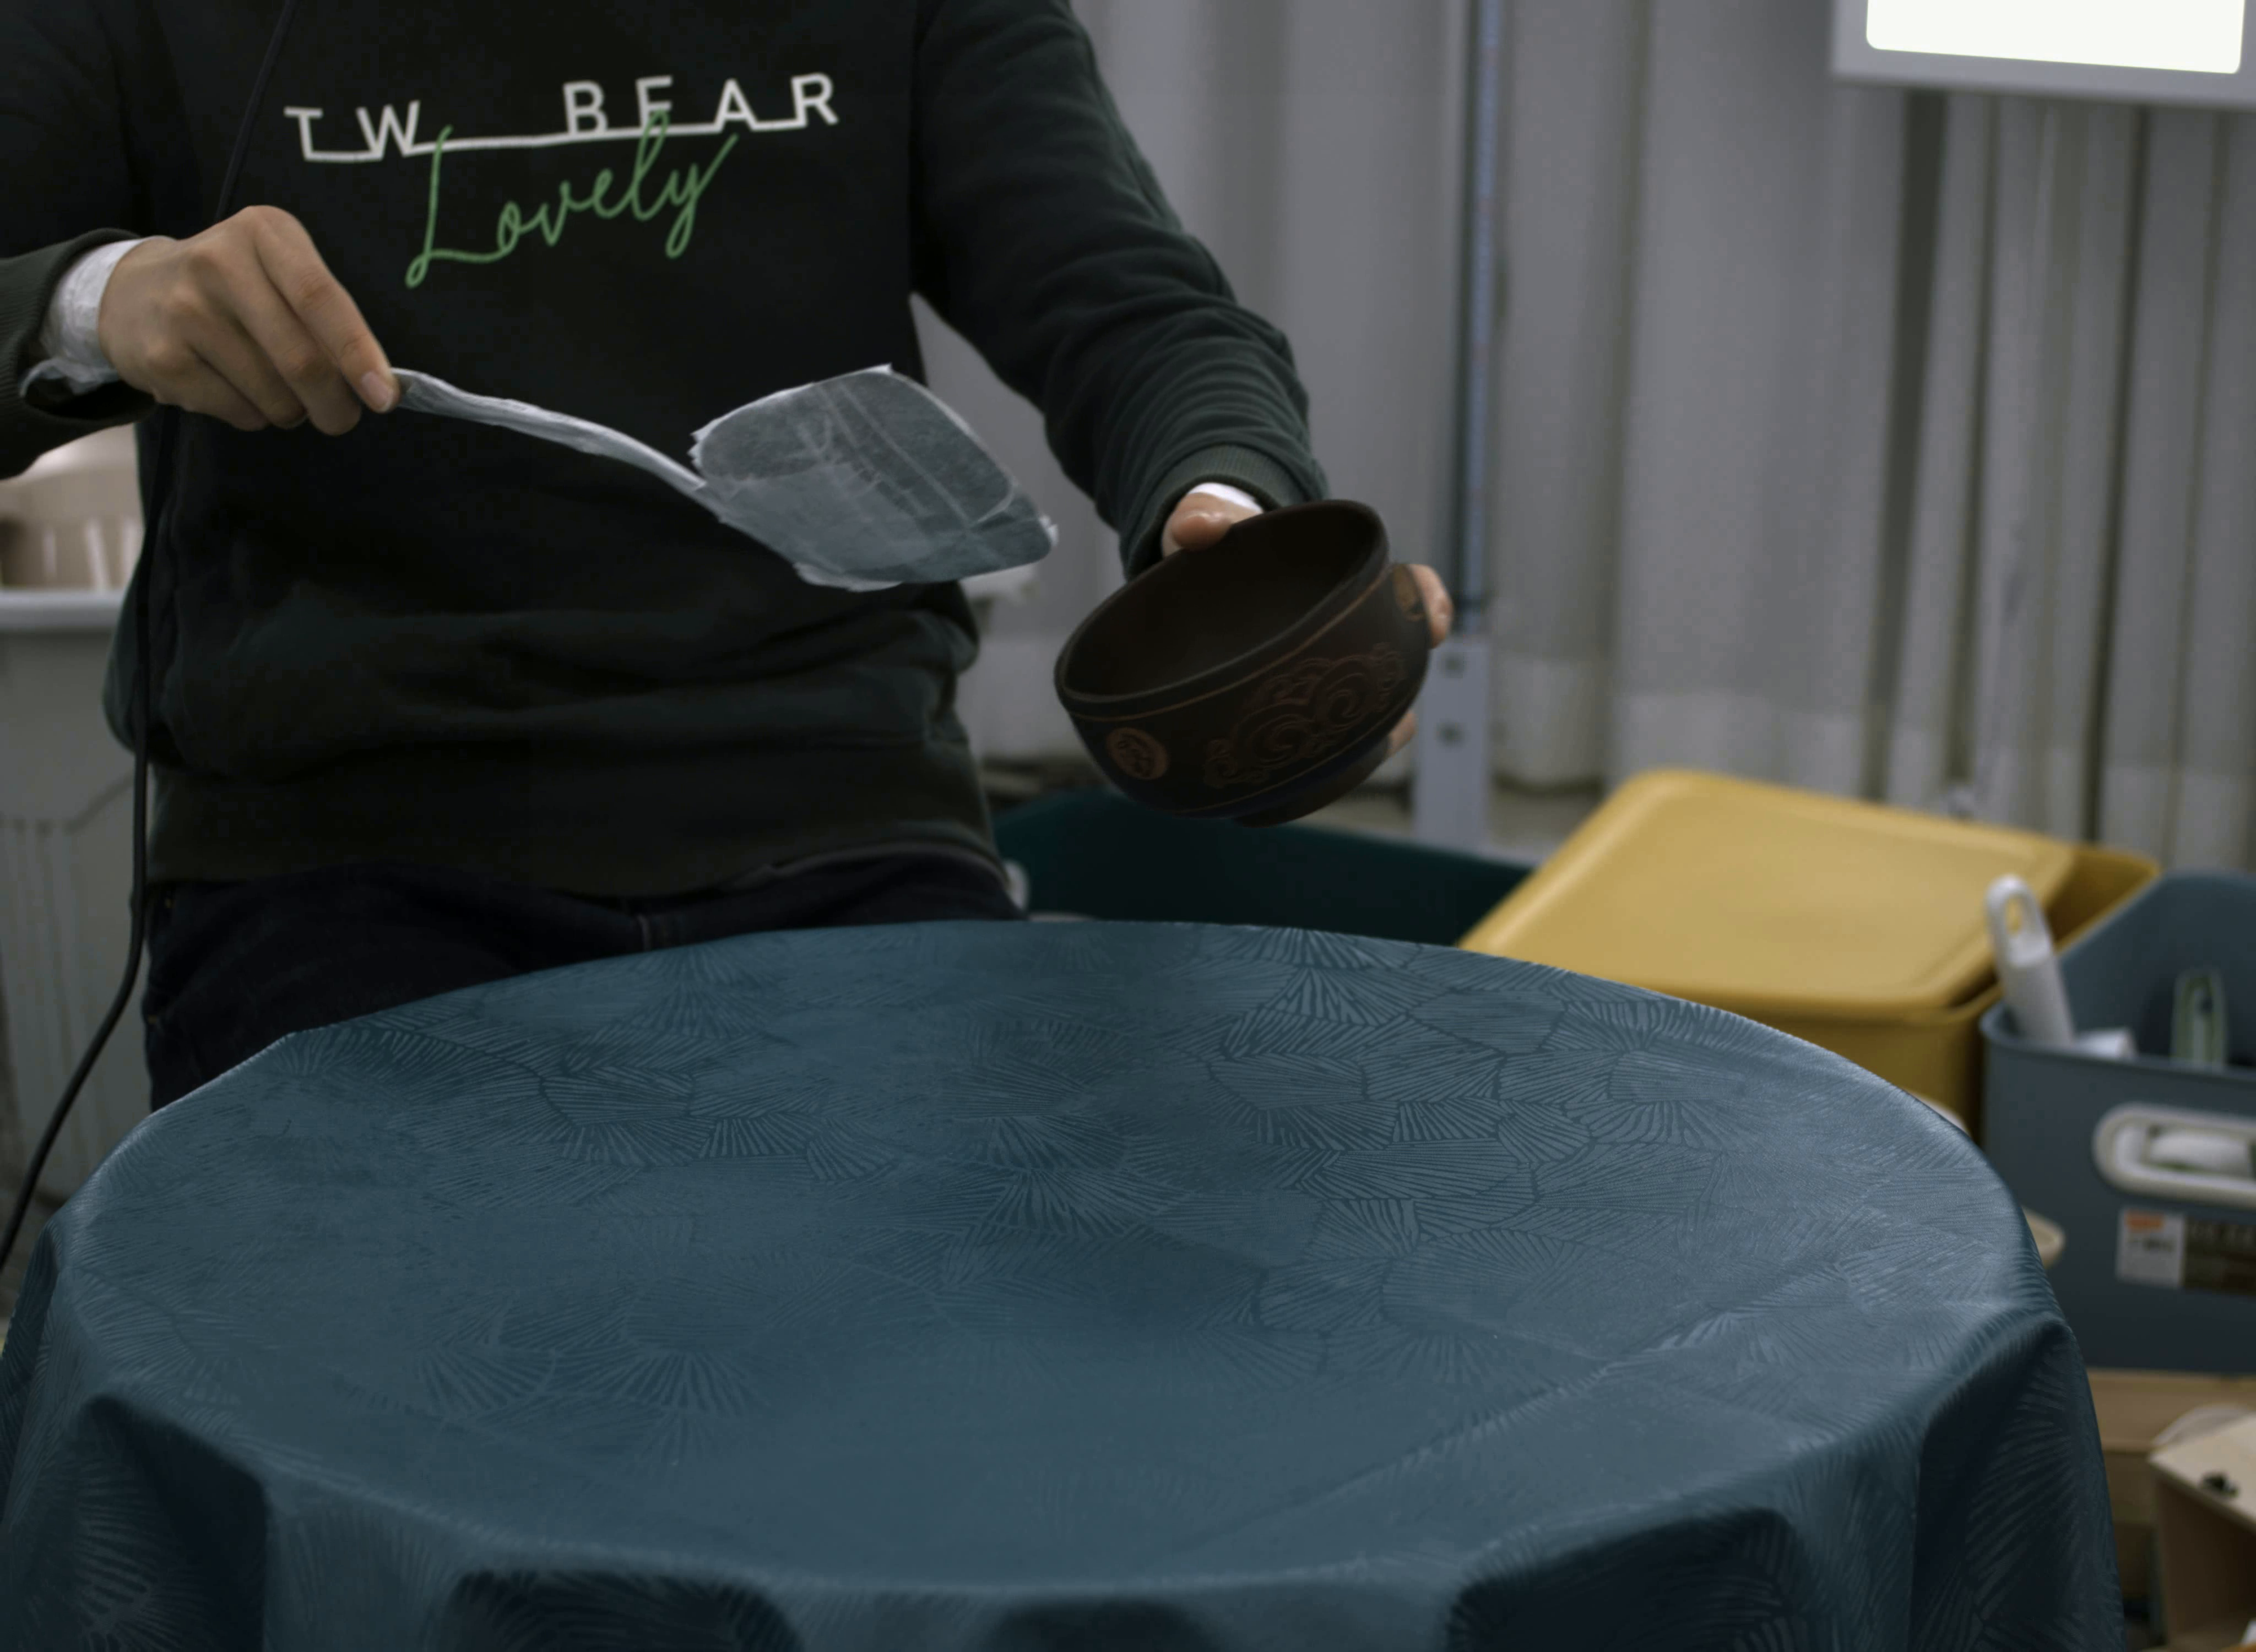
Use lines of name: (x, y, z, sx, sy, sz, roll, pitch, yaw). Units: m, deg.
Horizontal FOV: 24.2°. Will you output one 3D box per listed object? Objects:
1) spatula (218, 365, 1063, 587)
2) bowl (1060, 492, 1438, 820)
spatula: (-0.172, -0.125, 1.647, 0.360, 0.045, 0.100, 16, -21, 42)
bowl: (0.044, -0.046, 1.657, 0.117, 0.070, 0.117, -22, 22, 11)
